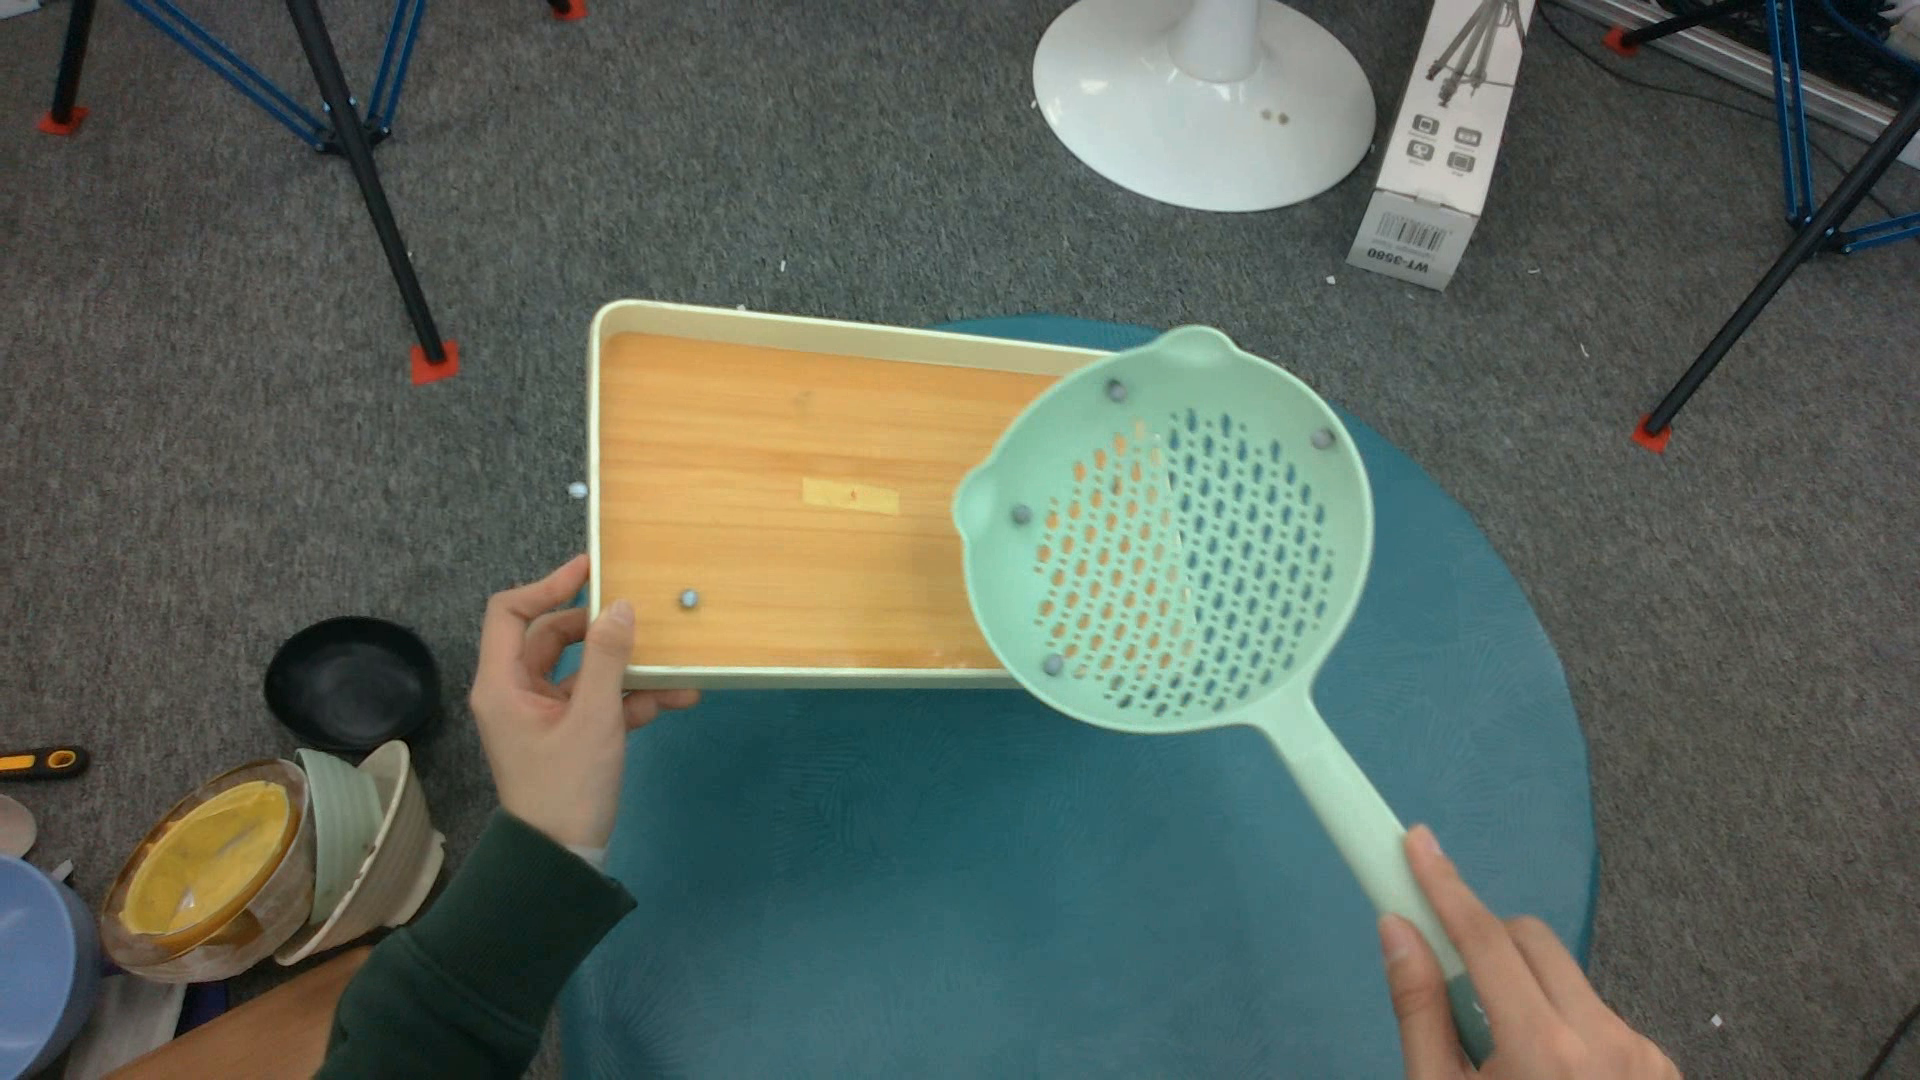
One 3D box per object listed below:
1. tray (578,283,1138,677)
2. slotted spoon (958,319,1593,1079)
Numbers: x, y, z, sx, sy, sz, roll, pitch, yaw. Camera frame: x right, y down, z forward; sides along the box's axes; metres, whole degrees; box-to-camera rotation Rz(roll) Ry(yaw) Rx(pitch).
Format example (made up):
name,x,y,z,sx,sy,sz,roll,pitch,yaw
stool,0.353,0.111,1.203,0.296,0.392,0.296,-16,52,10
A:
name,x,y,z,sx,sy,sz,roll,pitch,yaw
tray,-0.033,-0.026,0.678,0.301,0.027,0.192,3,65,-22
slotted spoon,0.126,0.067,0.519,0.169,0.075,0.360,-34,49,8
